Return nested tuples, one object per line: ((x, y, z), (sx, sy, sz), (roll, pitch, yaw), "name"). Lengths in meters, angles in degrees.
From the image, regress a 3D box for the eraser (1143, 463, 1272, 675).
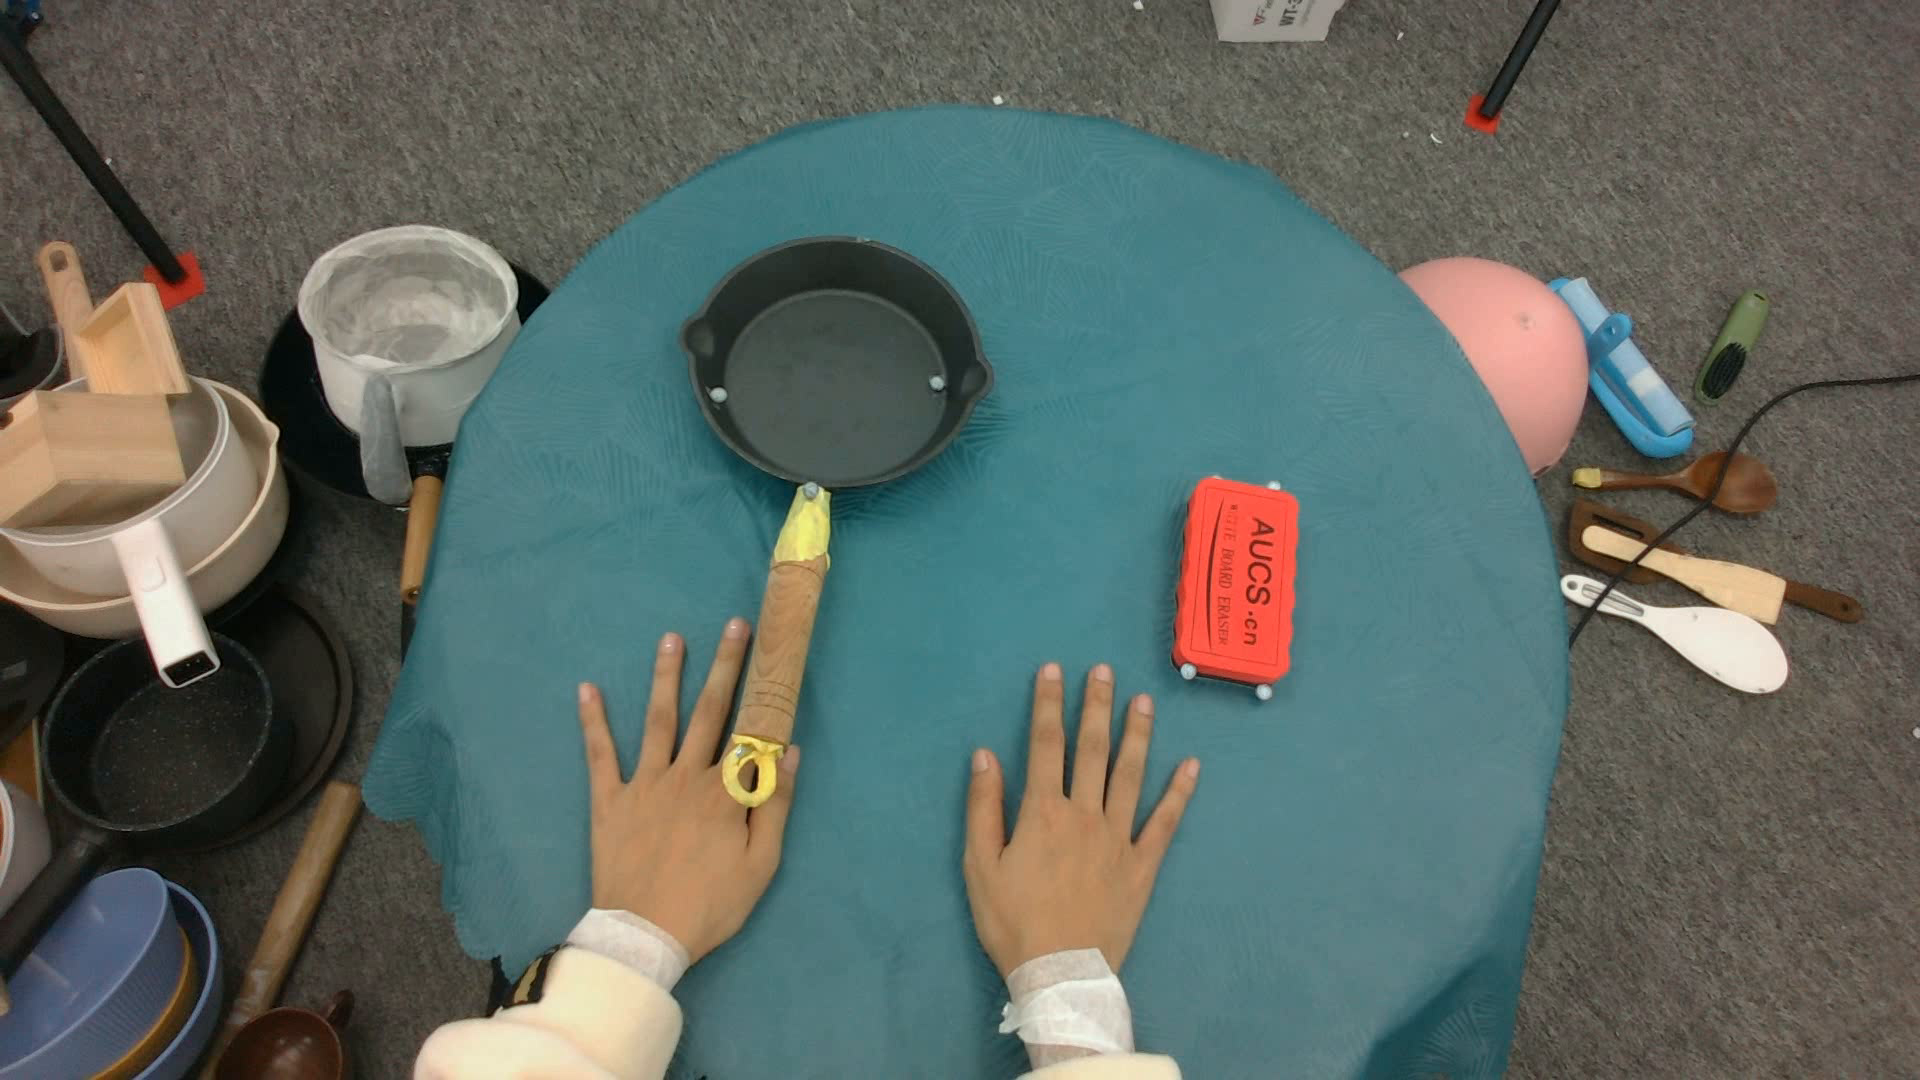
((0.131, 0.015, 0.727), (0.059, 0.023, 0.108), (11, 64, -2), "eraser")

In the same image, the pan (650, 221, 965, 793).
((-0.092, -0.027, 0.703), (0.169, 0.049, 0.325), (10, 63, -3), "pan")
